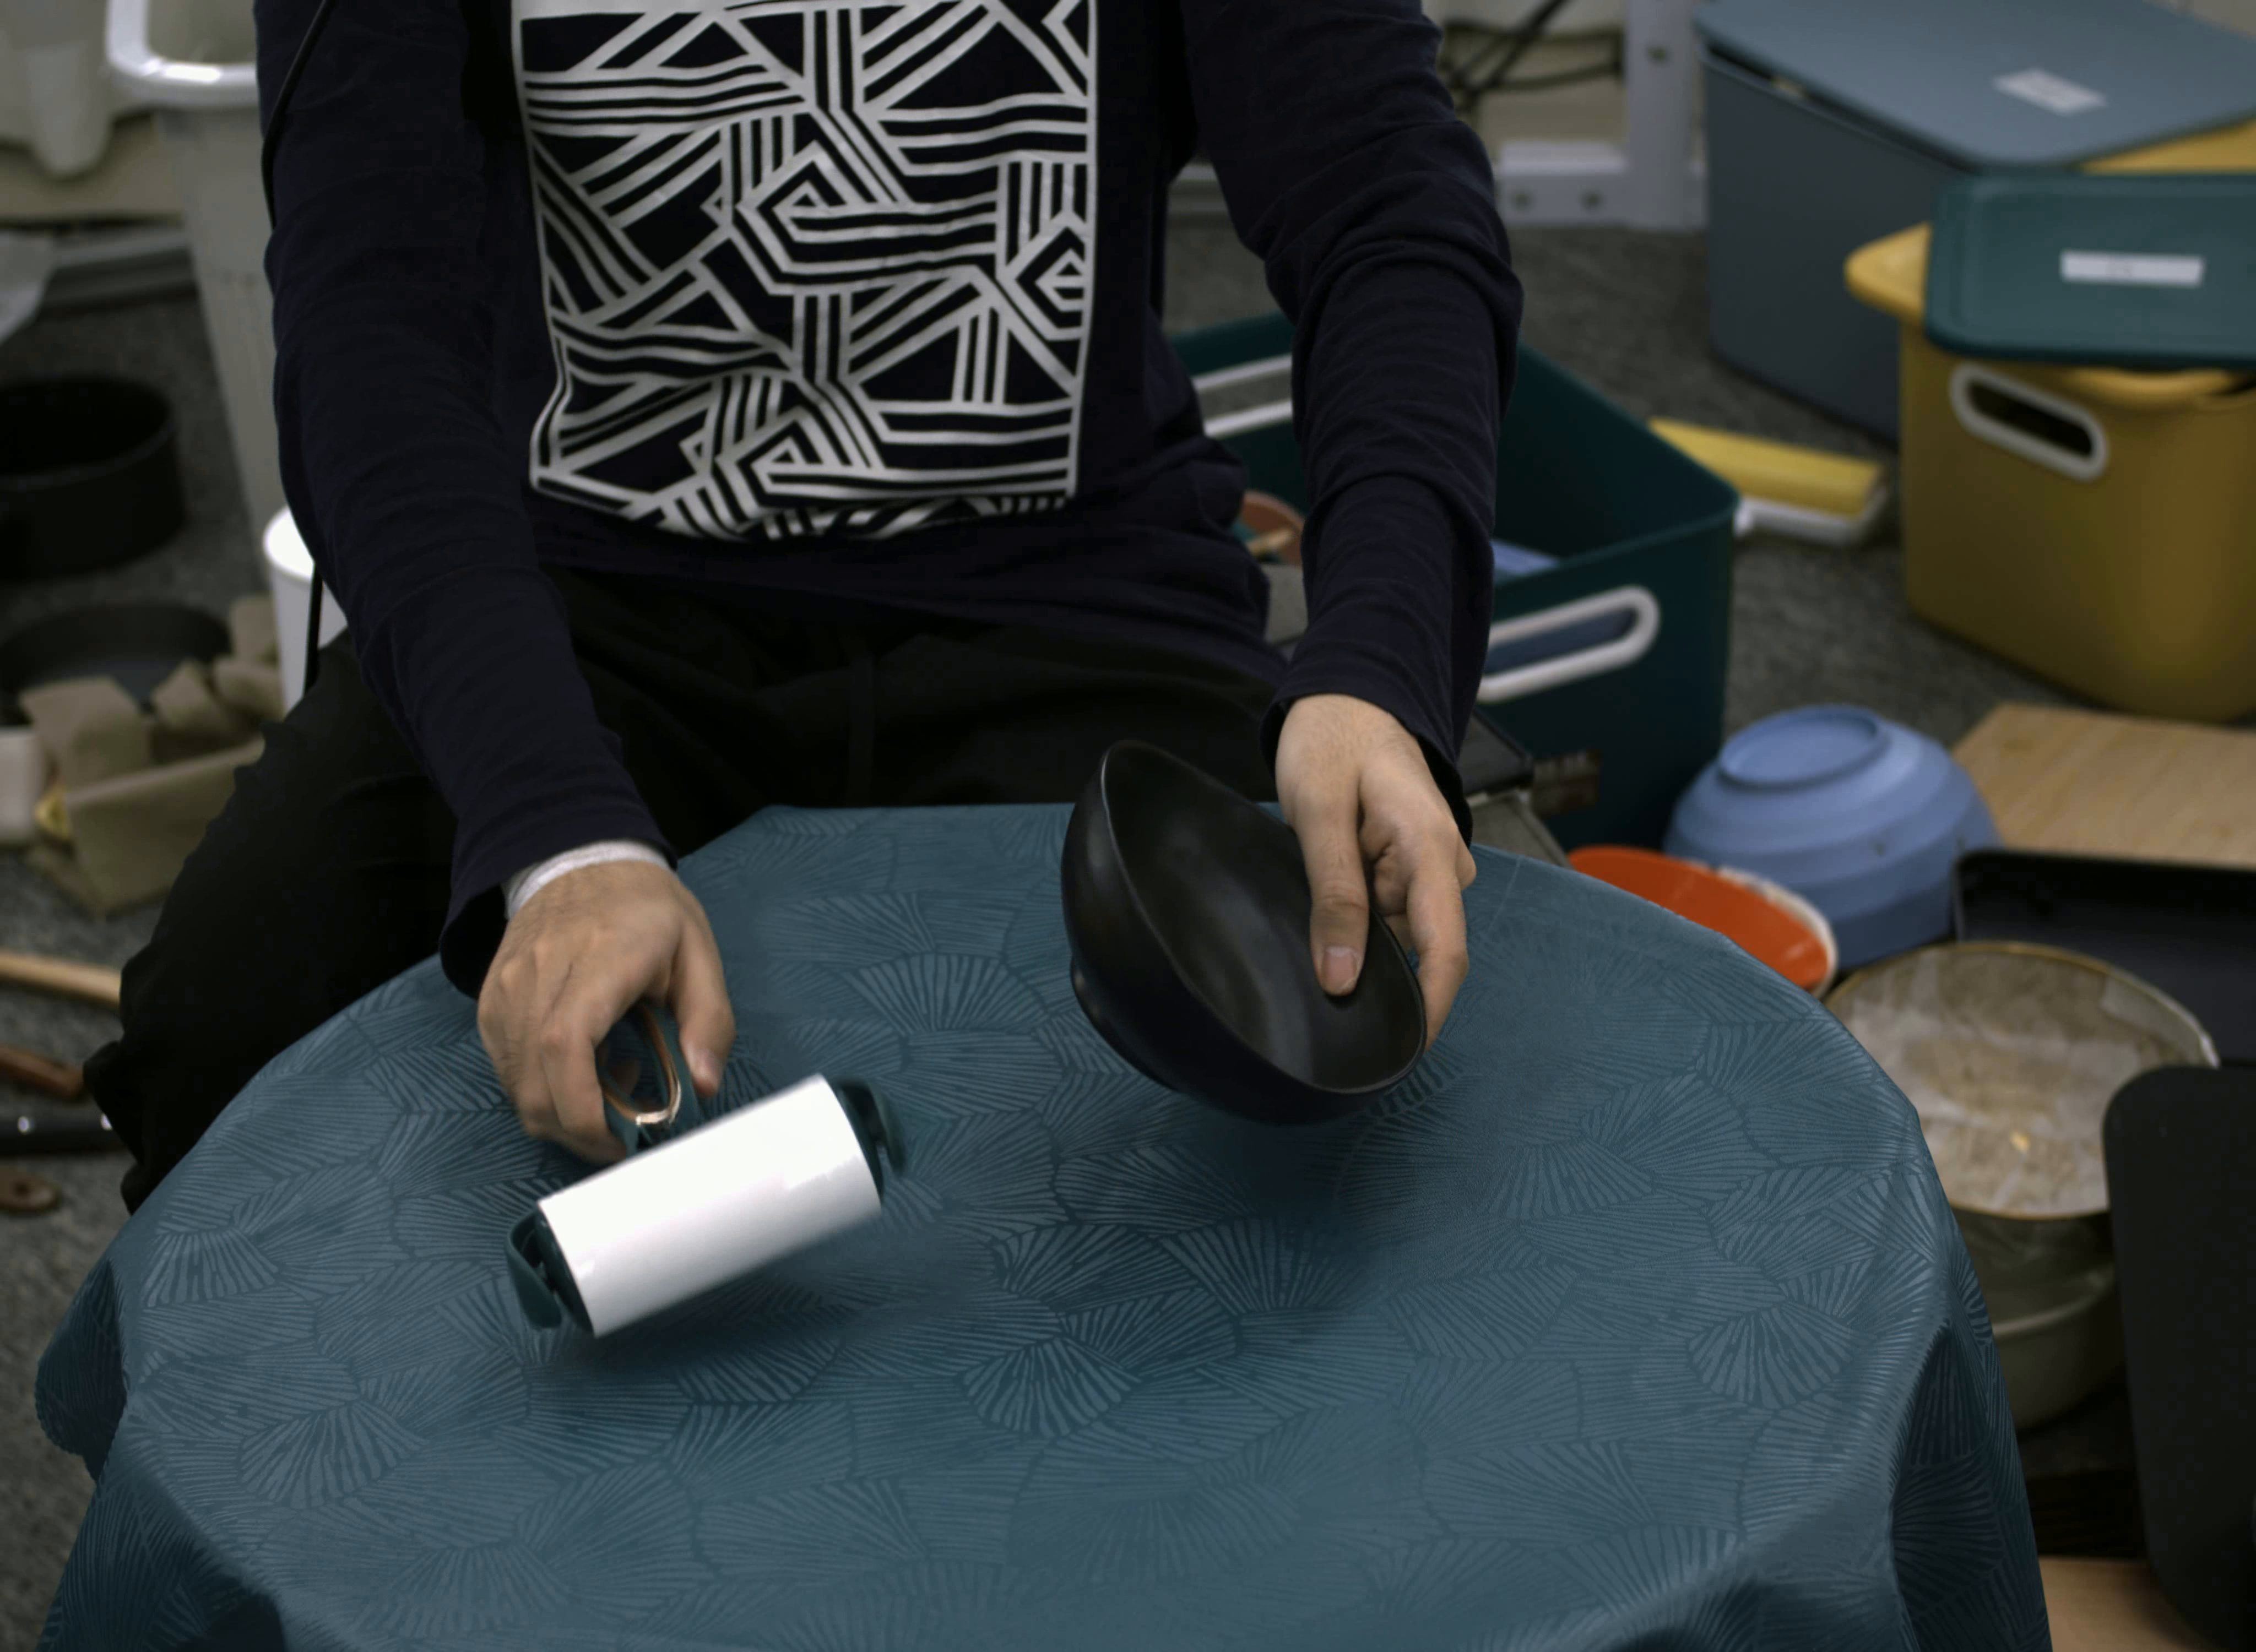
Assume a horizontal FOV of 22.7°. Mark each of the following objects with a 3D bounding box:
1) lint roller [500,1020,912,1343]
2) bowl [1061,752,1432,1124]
[{"bbox_3d":[-0.157,0.093,1.833,0.134,0.048,0.182,-21,34,-13],"label":"lint roller"},{"bbox_3d":[0.026,0.045,1.852,0.137,0.066,0.173,30,25,-26],"label":"bowl"}]
